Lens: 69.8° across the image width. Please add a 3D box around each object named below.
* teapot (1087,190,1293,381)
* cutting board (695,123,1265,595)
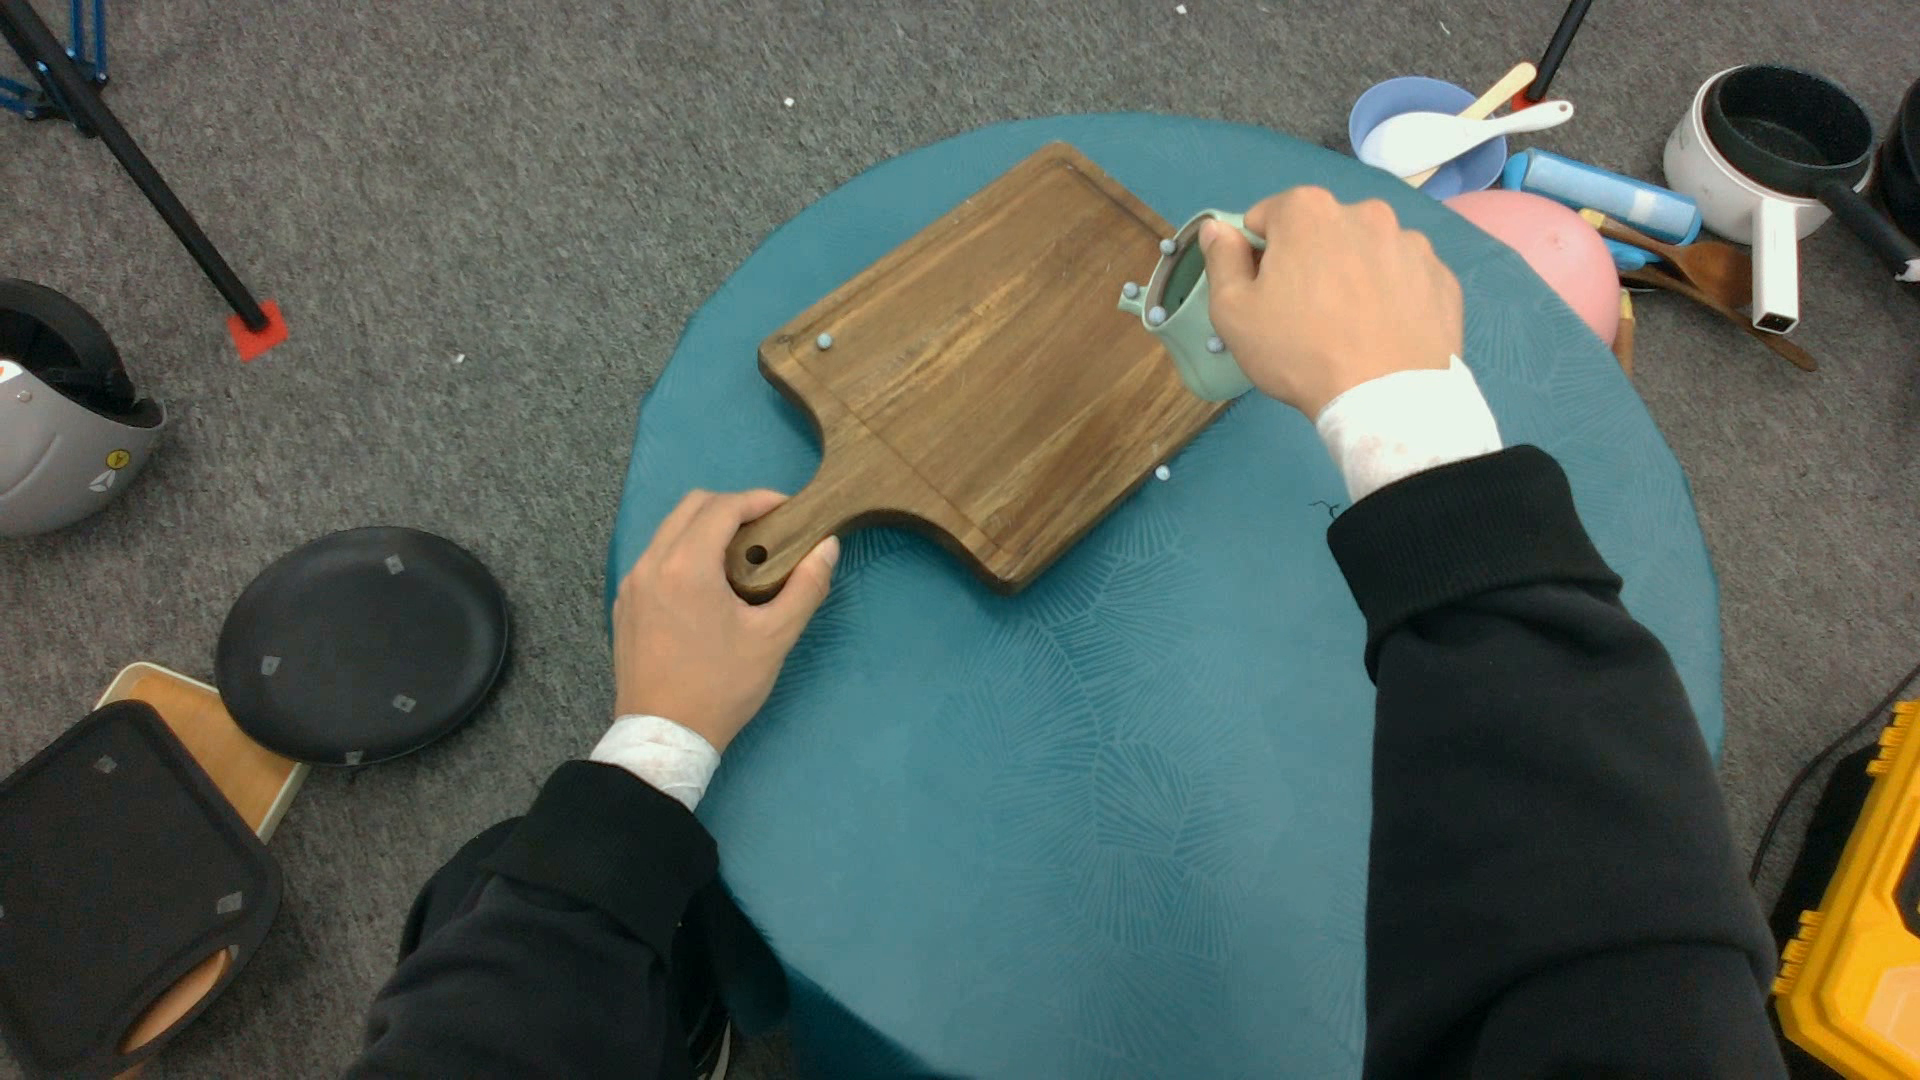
[{"bbox_3d":[0.114,-0.126,0.647,0.061,0.136,0.096,24,78,-17],"label":"teapot"},{"bbox_3d":[-0.007,-0.089,0.748,0.201,0.023,0.353,41,63,14],"label":"cutting board"}]
